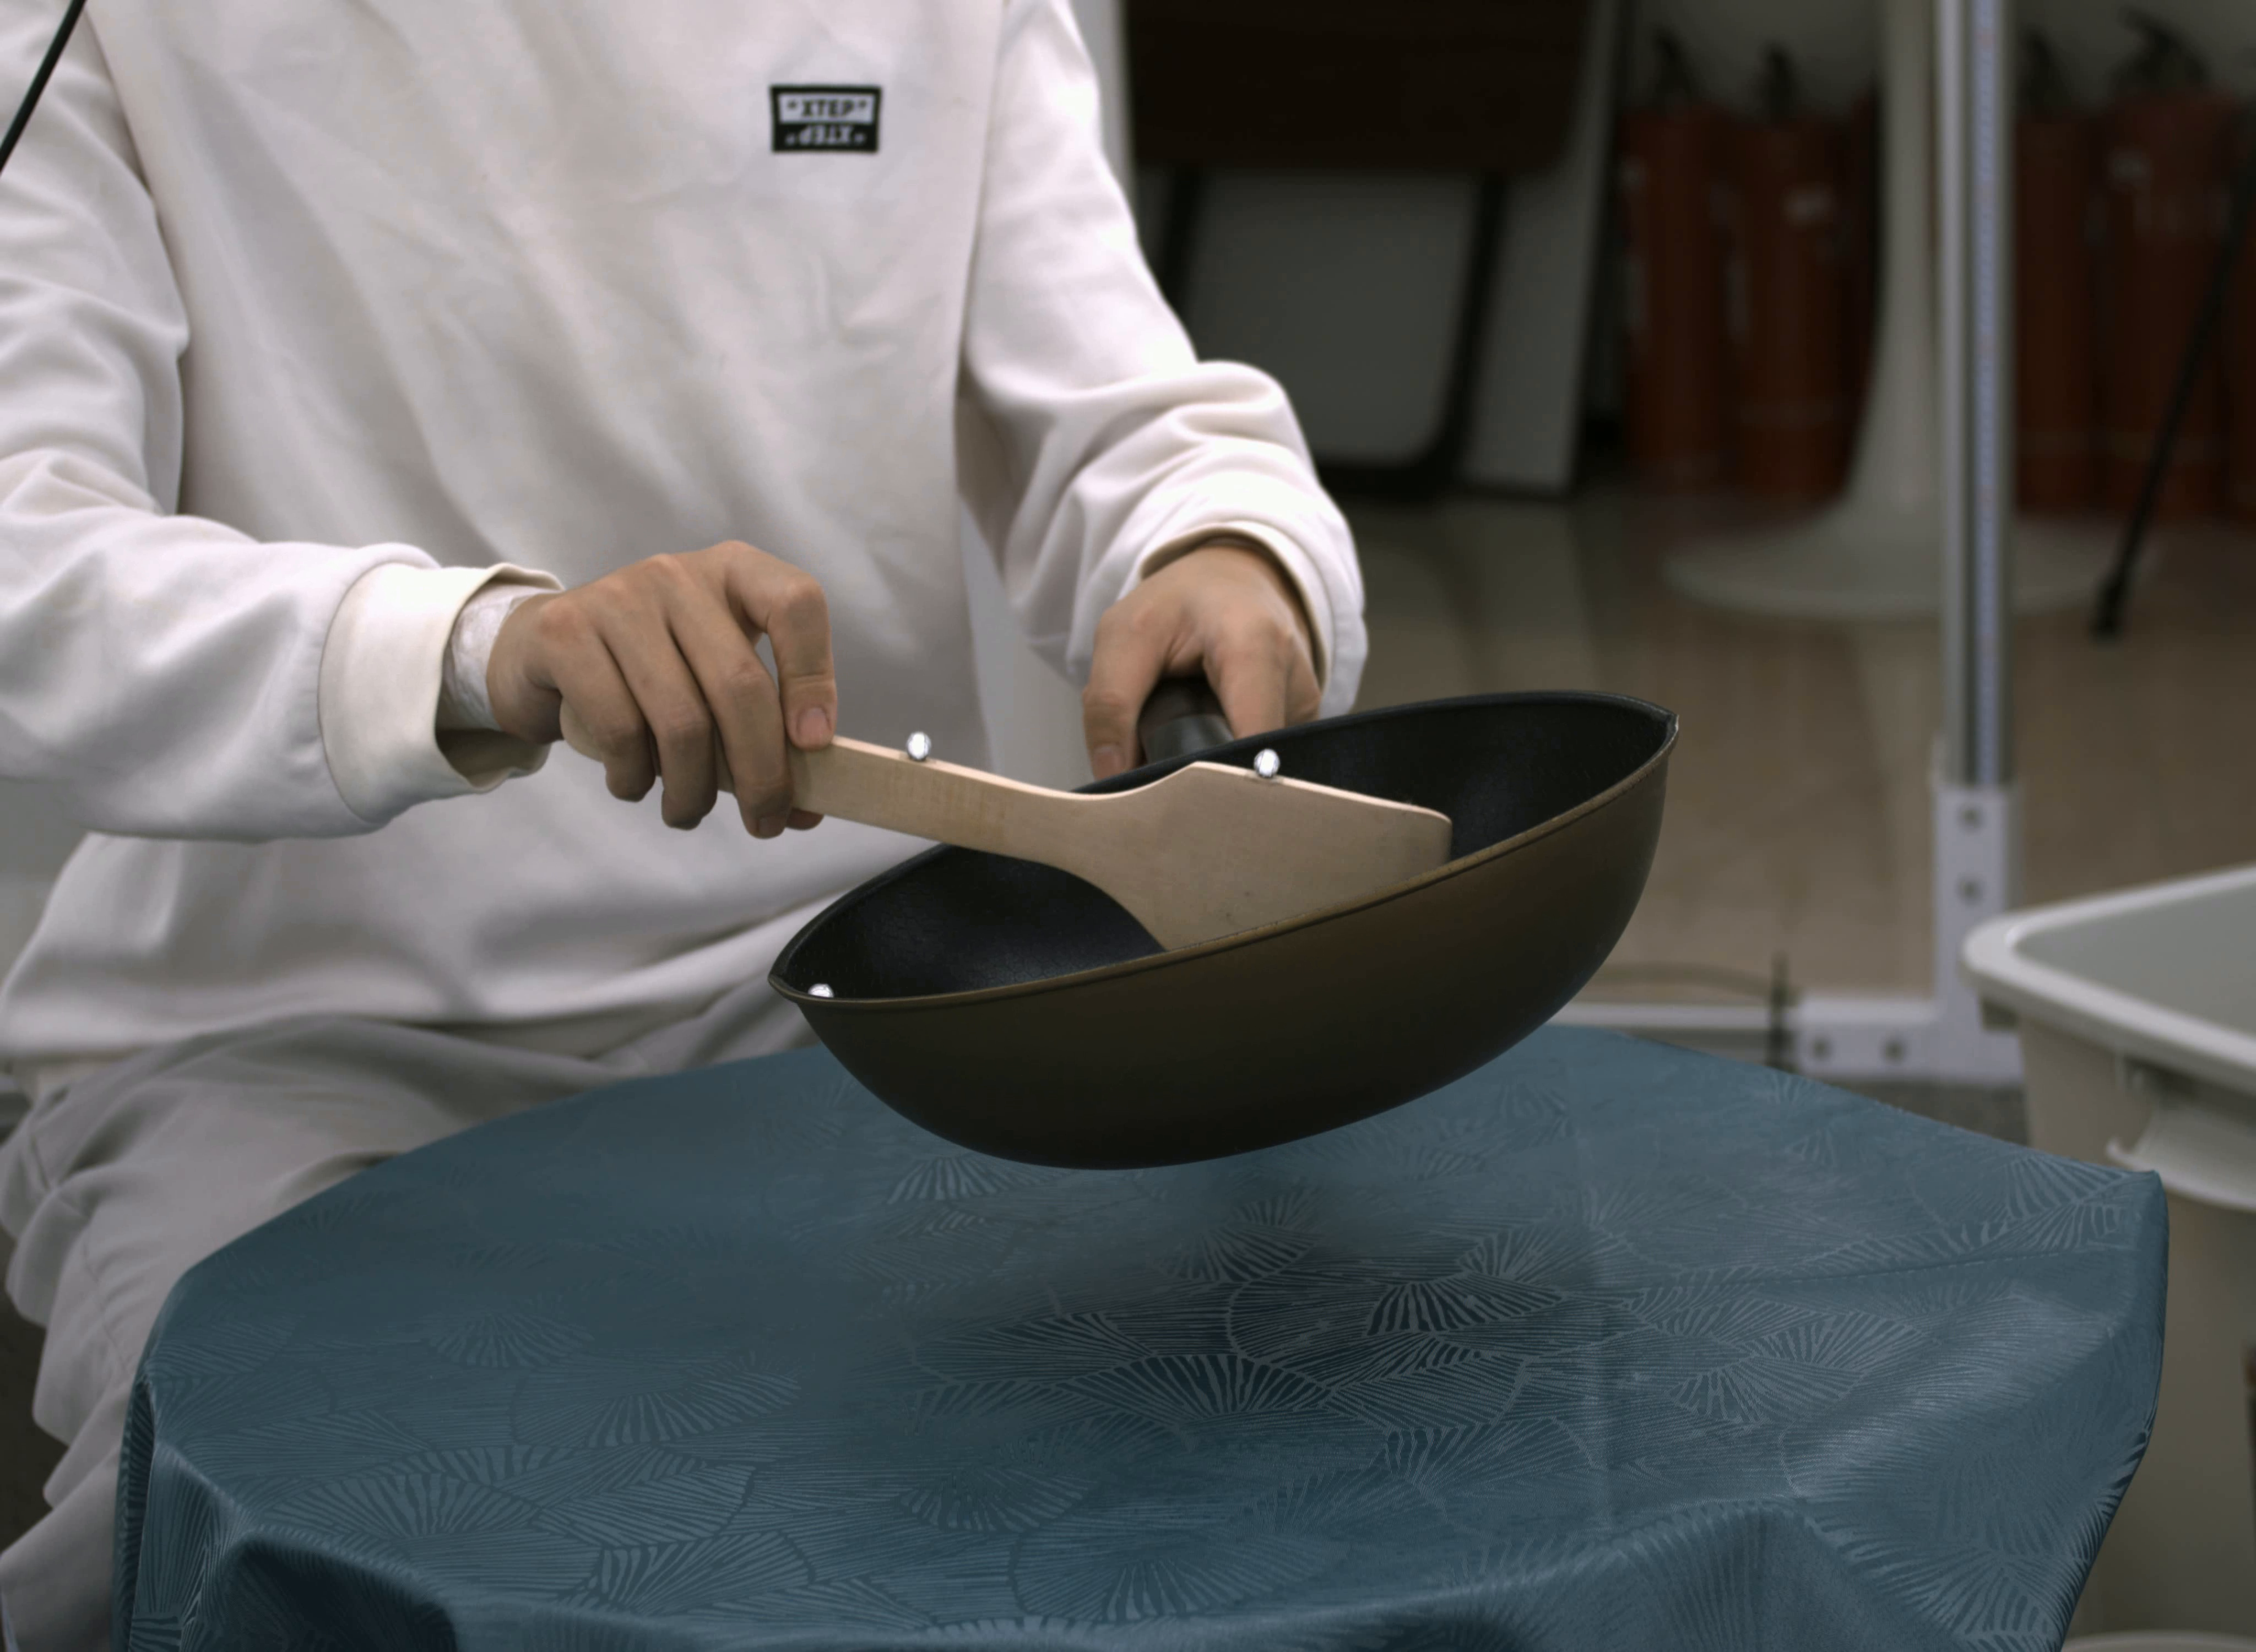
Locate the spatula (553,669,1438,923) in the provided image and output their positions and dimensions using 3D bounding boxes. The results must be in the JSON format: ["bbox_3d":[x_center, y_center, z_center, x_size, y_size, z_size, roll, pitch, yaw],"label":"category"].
[{"bbox_3d":[-0.045,-0.007,1.693,0.292,0.073,0.010,14,28,13],"label":"spatula"}]

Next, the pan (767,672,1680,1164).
[{"bbox_3d":[0.034,0.022,1.714,0.285,0.087,0.464,-16,9,1],"label":"pan"}]
